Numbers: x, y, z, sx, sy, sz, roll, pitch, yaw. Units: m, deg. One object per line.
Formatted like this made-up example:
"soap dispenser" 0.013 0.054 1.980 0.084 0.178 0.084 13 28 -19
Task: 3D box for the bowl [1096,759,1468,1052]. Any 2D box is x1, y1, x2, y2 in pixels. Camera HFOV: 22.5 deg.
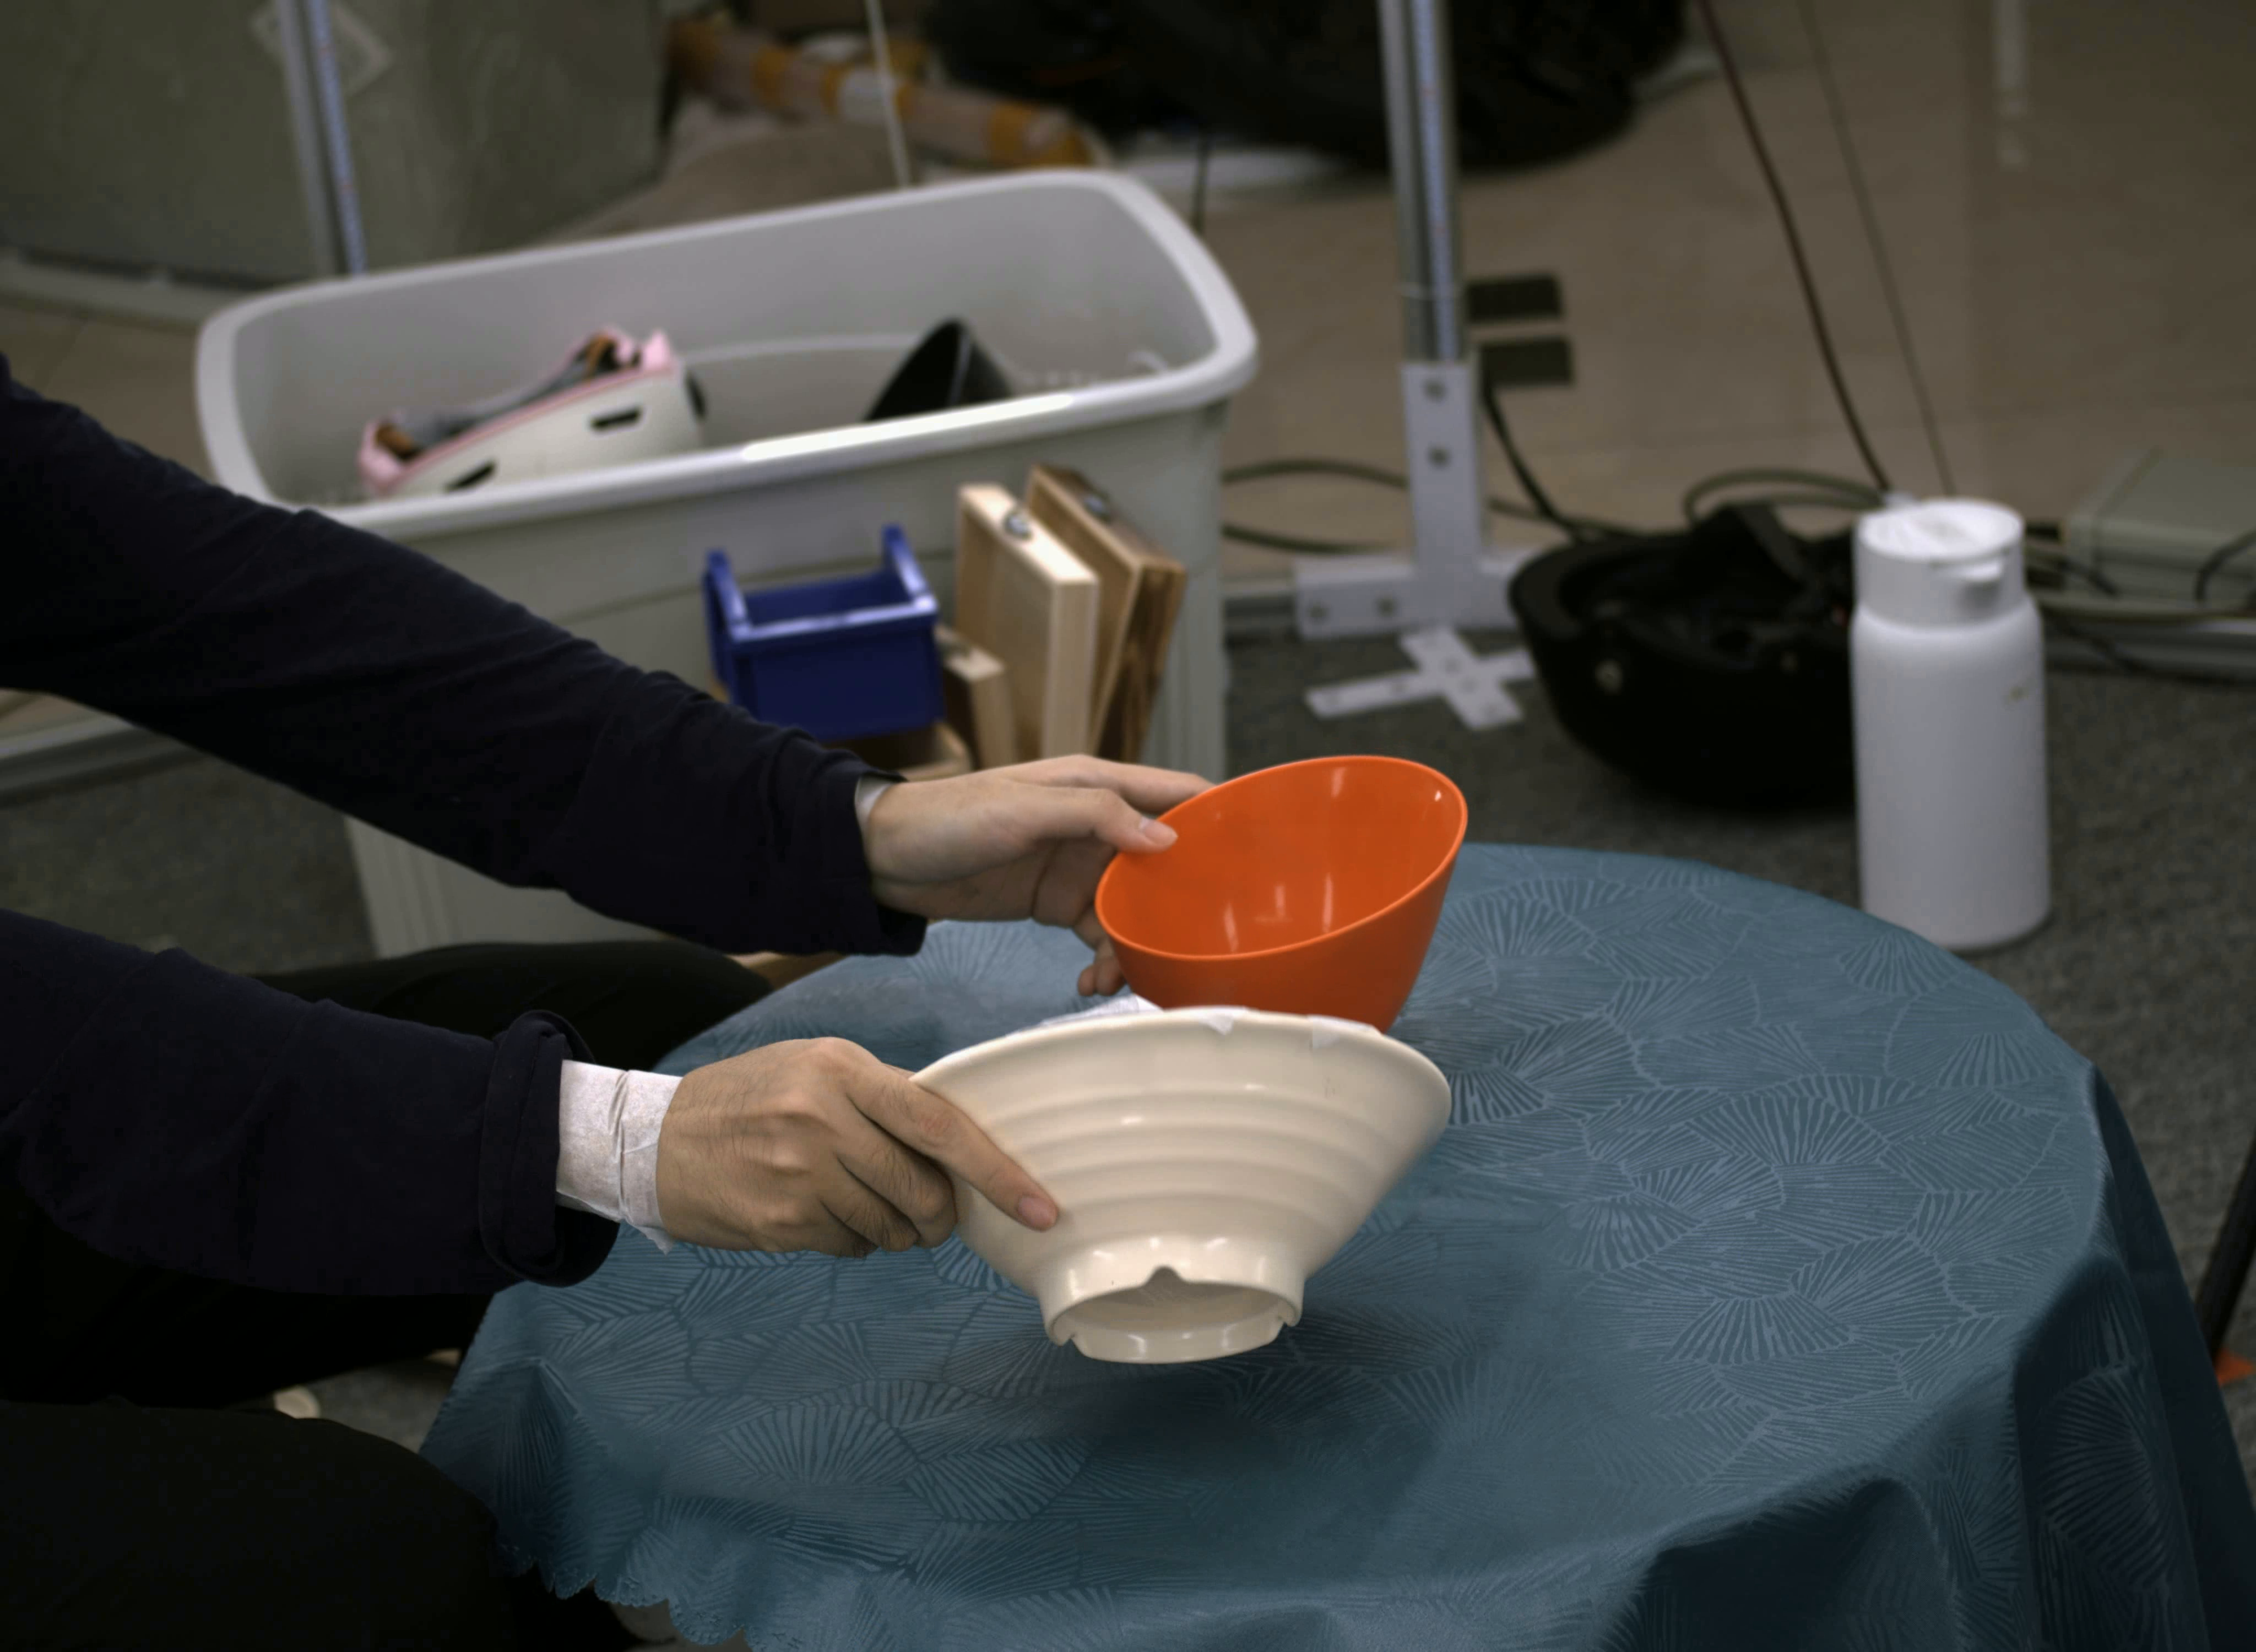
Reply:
"bowl" 0.065 0.049 2.208 0.148 0.106 0.146 -7 26 3

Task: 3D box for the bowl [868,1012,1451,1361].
"bowl" 0.013 0.135 1.962 0.203 0.206 0.077 -5 68 3
